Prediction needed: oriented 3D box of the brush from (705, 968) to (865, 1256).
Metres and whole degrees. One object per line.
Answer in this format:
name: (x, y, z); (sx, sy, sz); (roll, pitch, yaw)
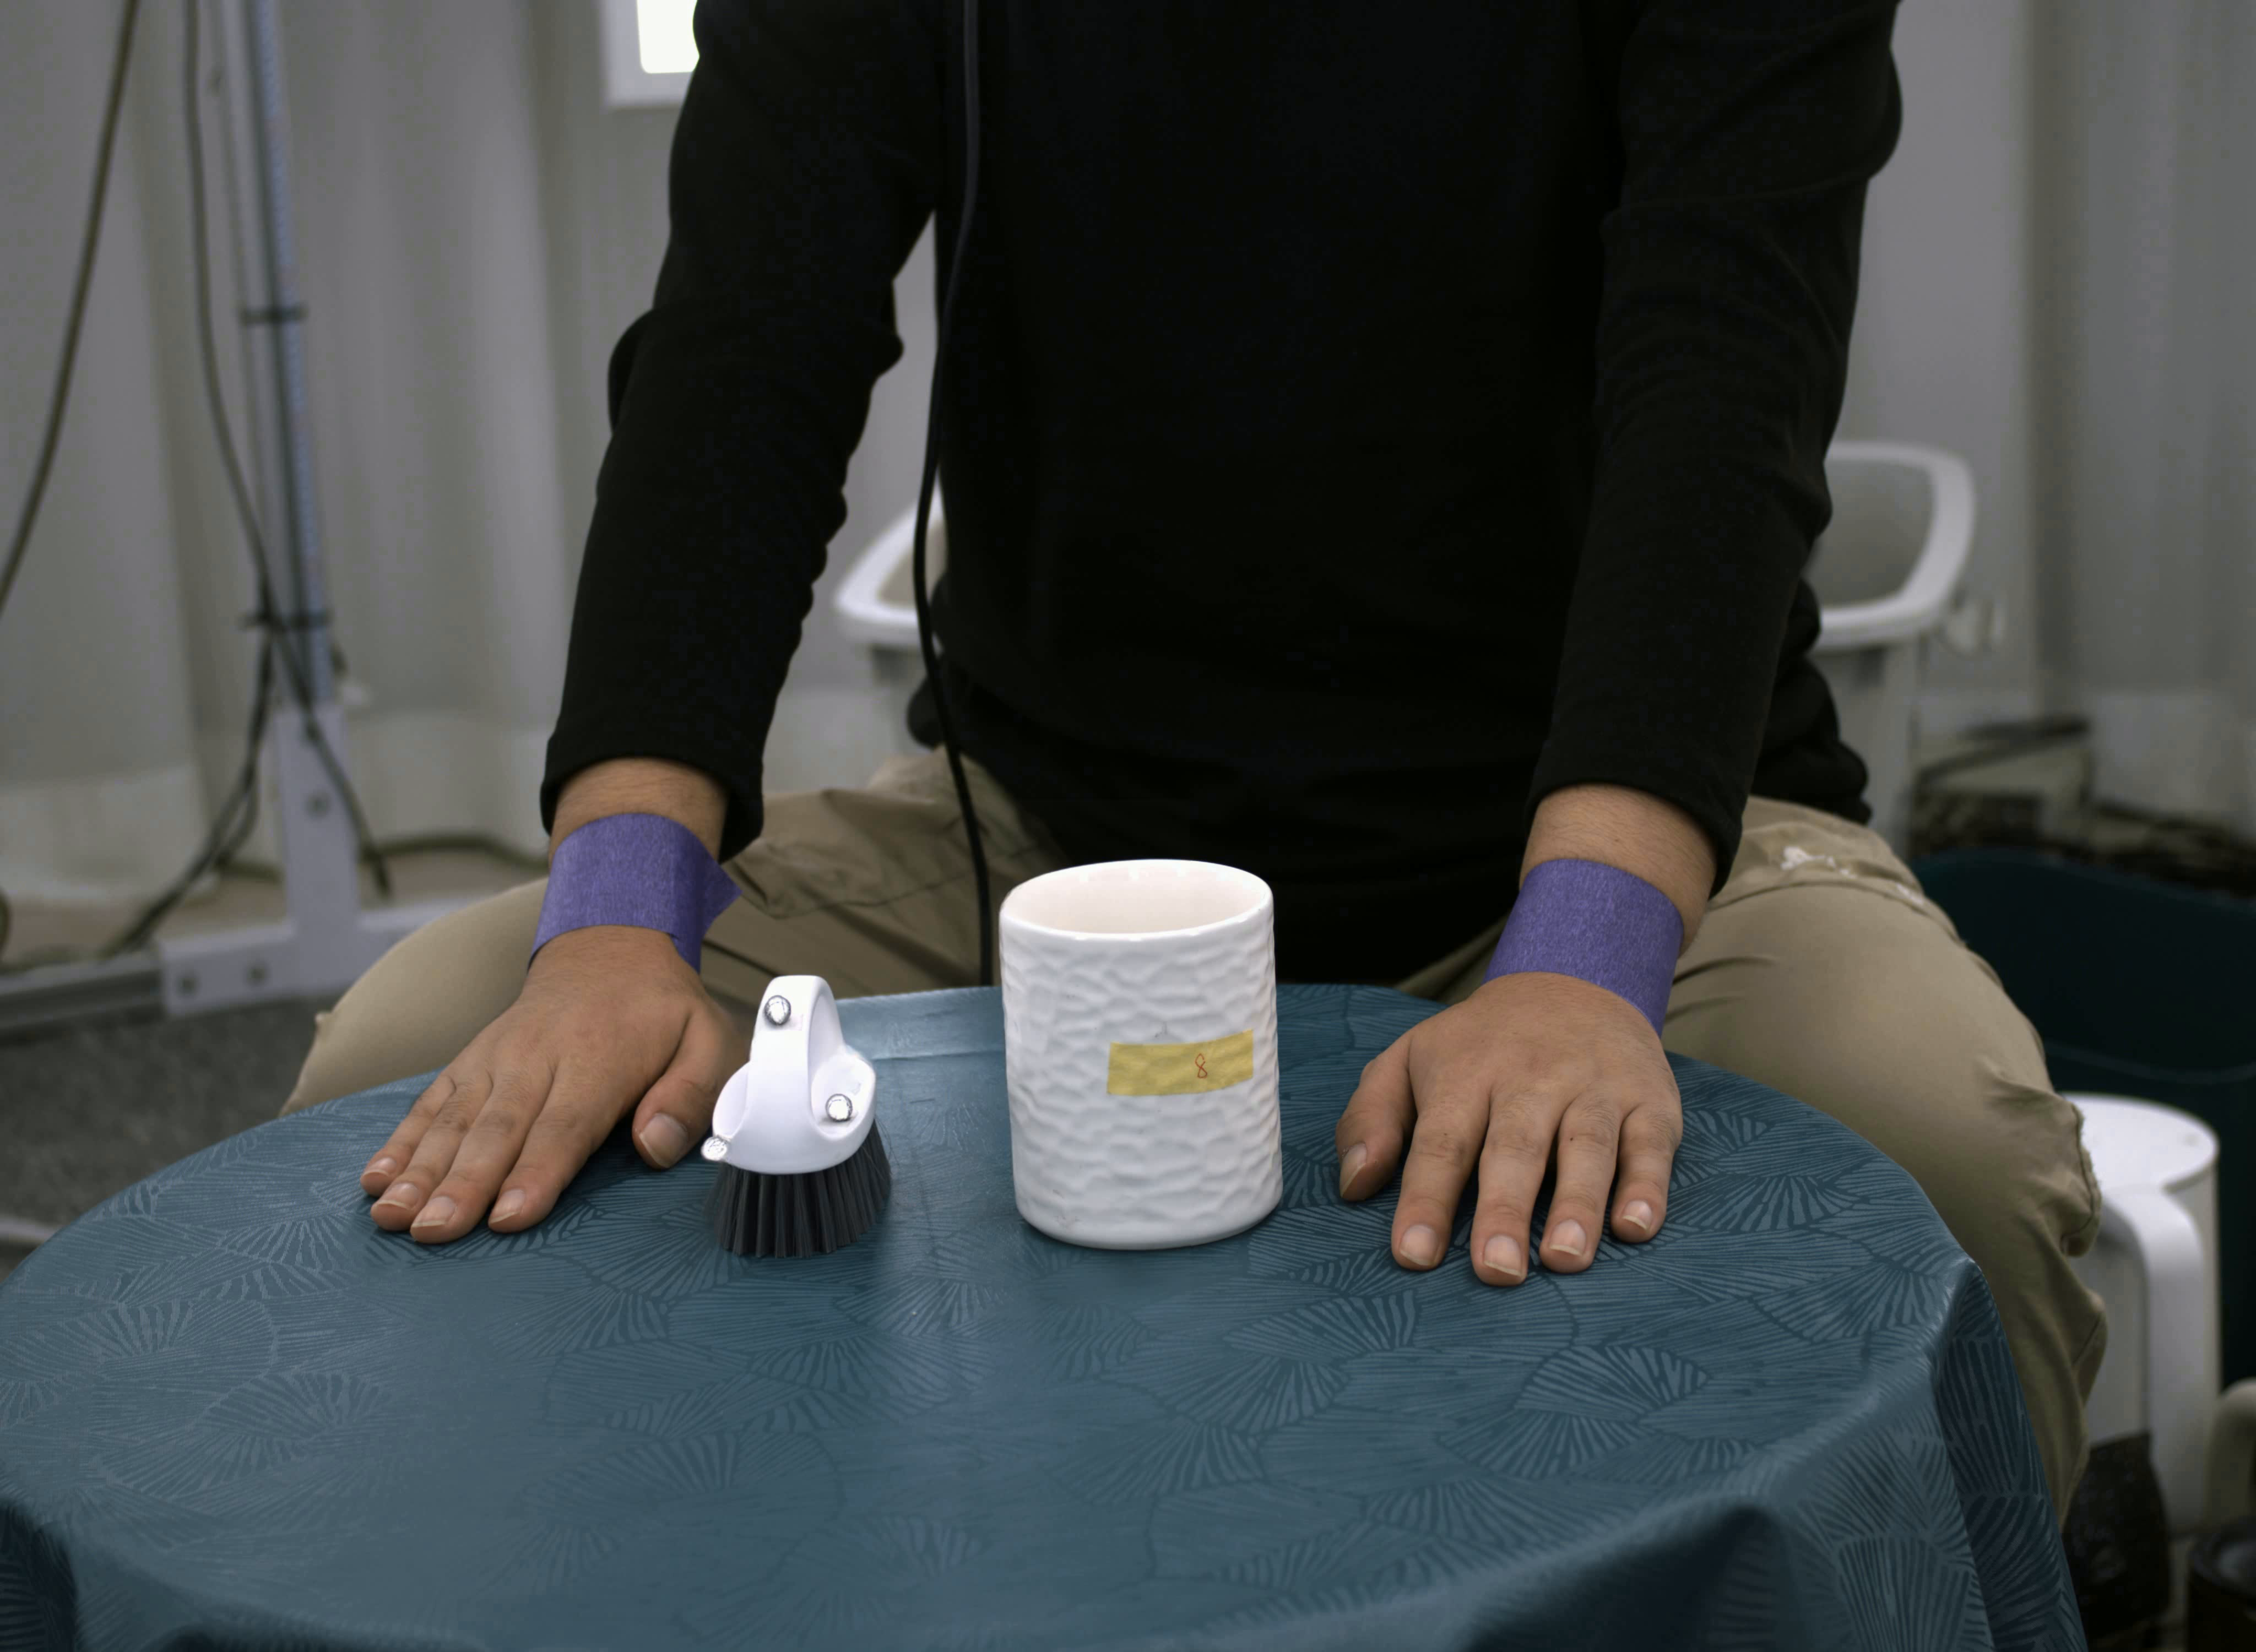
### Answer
brush: (-0.107, 0.084, 1.710); (0.050, 0.072, 0.100); (0, 18, -4)

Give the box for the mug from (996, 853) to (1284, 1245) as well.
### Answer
mug: (0.005, 0.064, 1.700); (0.084, 0.101, 0.119); (-3, 14, 2)
